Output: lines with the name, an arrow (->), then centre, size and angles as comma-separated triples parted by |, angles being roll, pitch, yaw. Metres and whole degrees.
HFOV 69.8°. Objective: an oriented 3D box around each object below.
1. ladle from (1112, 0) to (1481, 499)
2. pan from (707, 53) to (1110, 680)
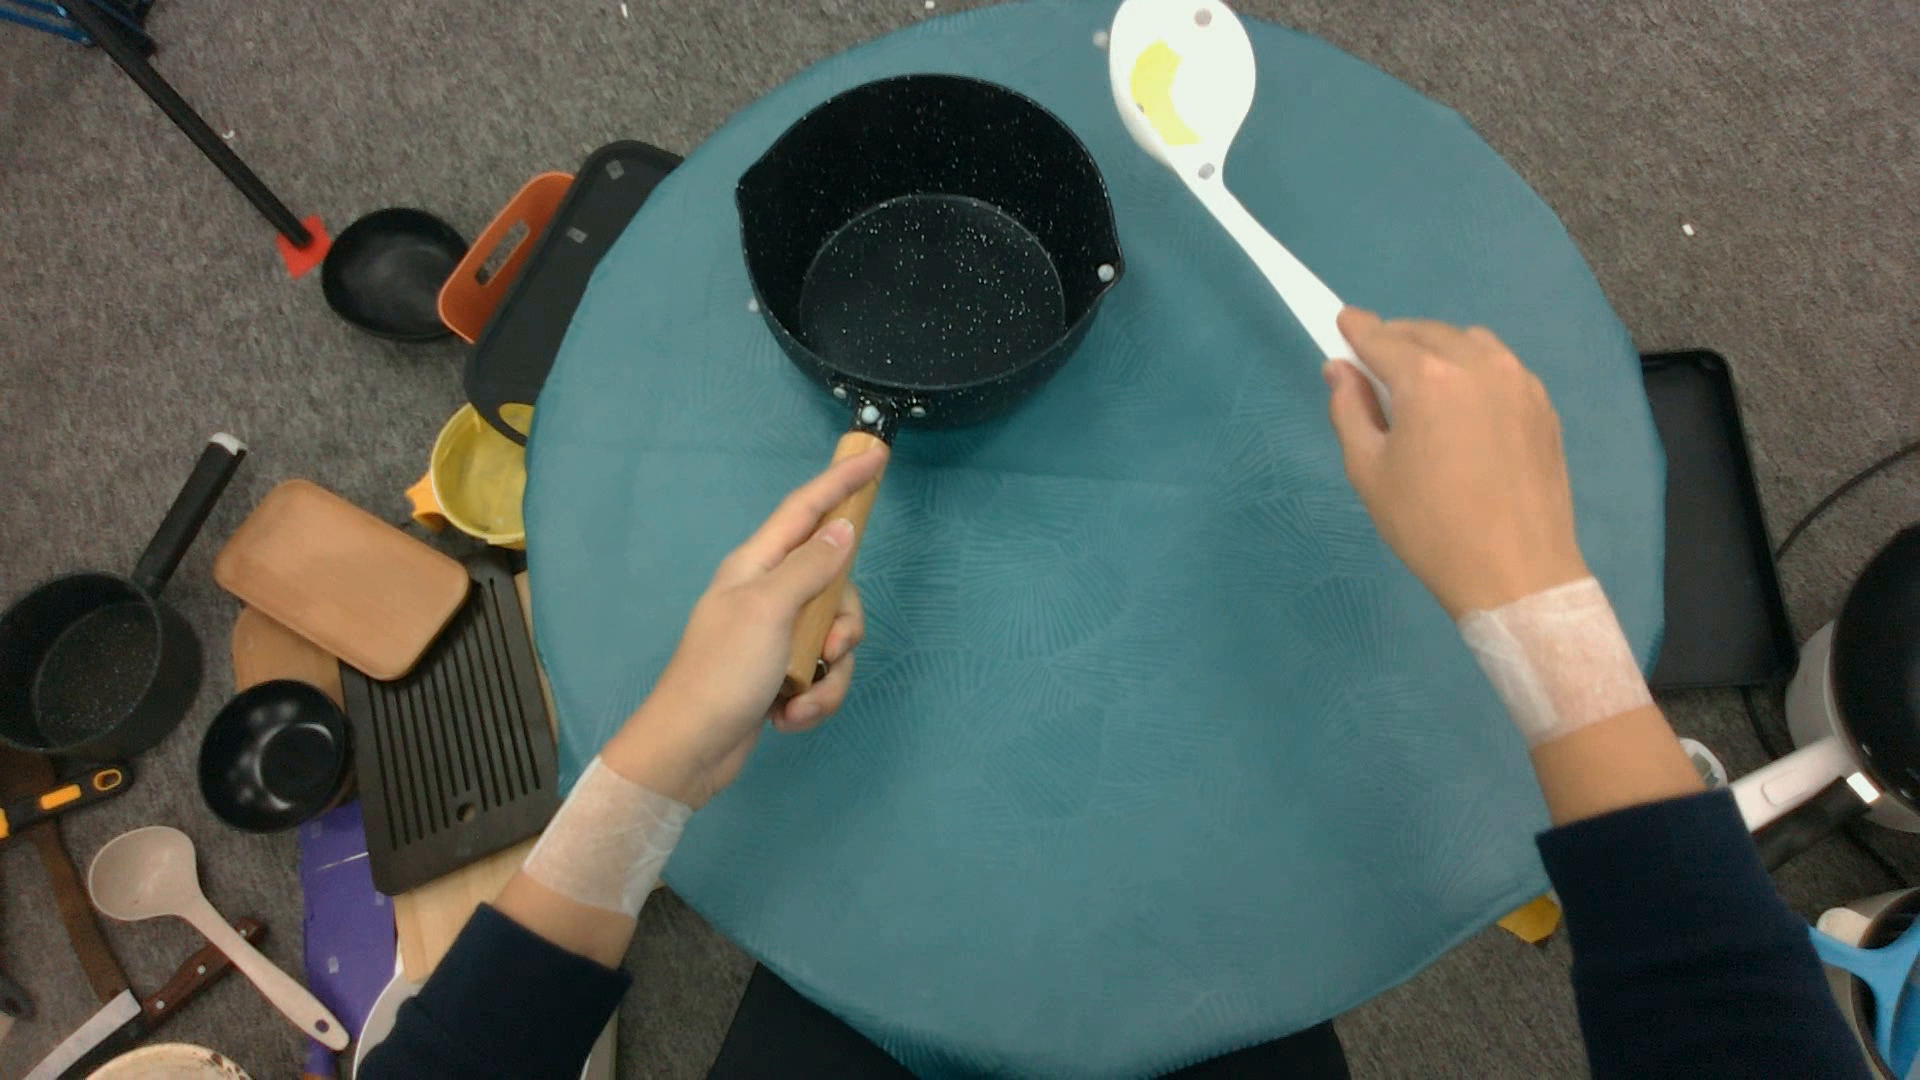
ladle -> 0.153, -0.153, 0.628 | 0.090, 0.069, 0.293 | -5, 55, -35
pan -> -0.042, -0.082, 0.680 | 0.207, 0.108, 0.344 | 12, 69, 3
